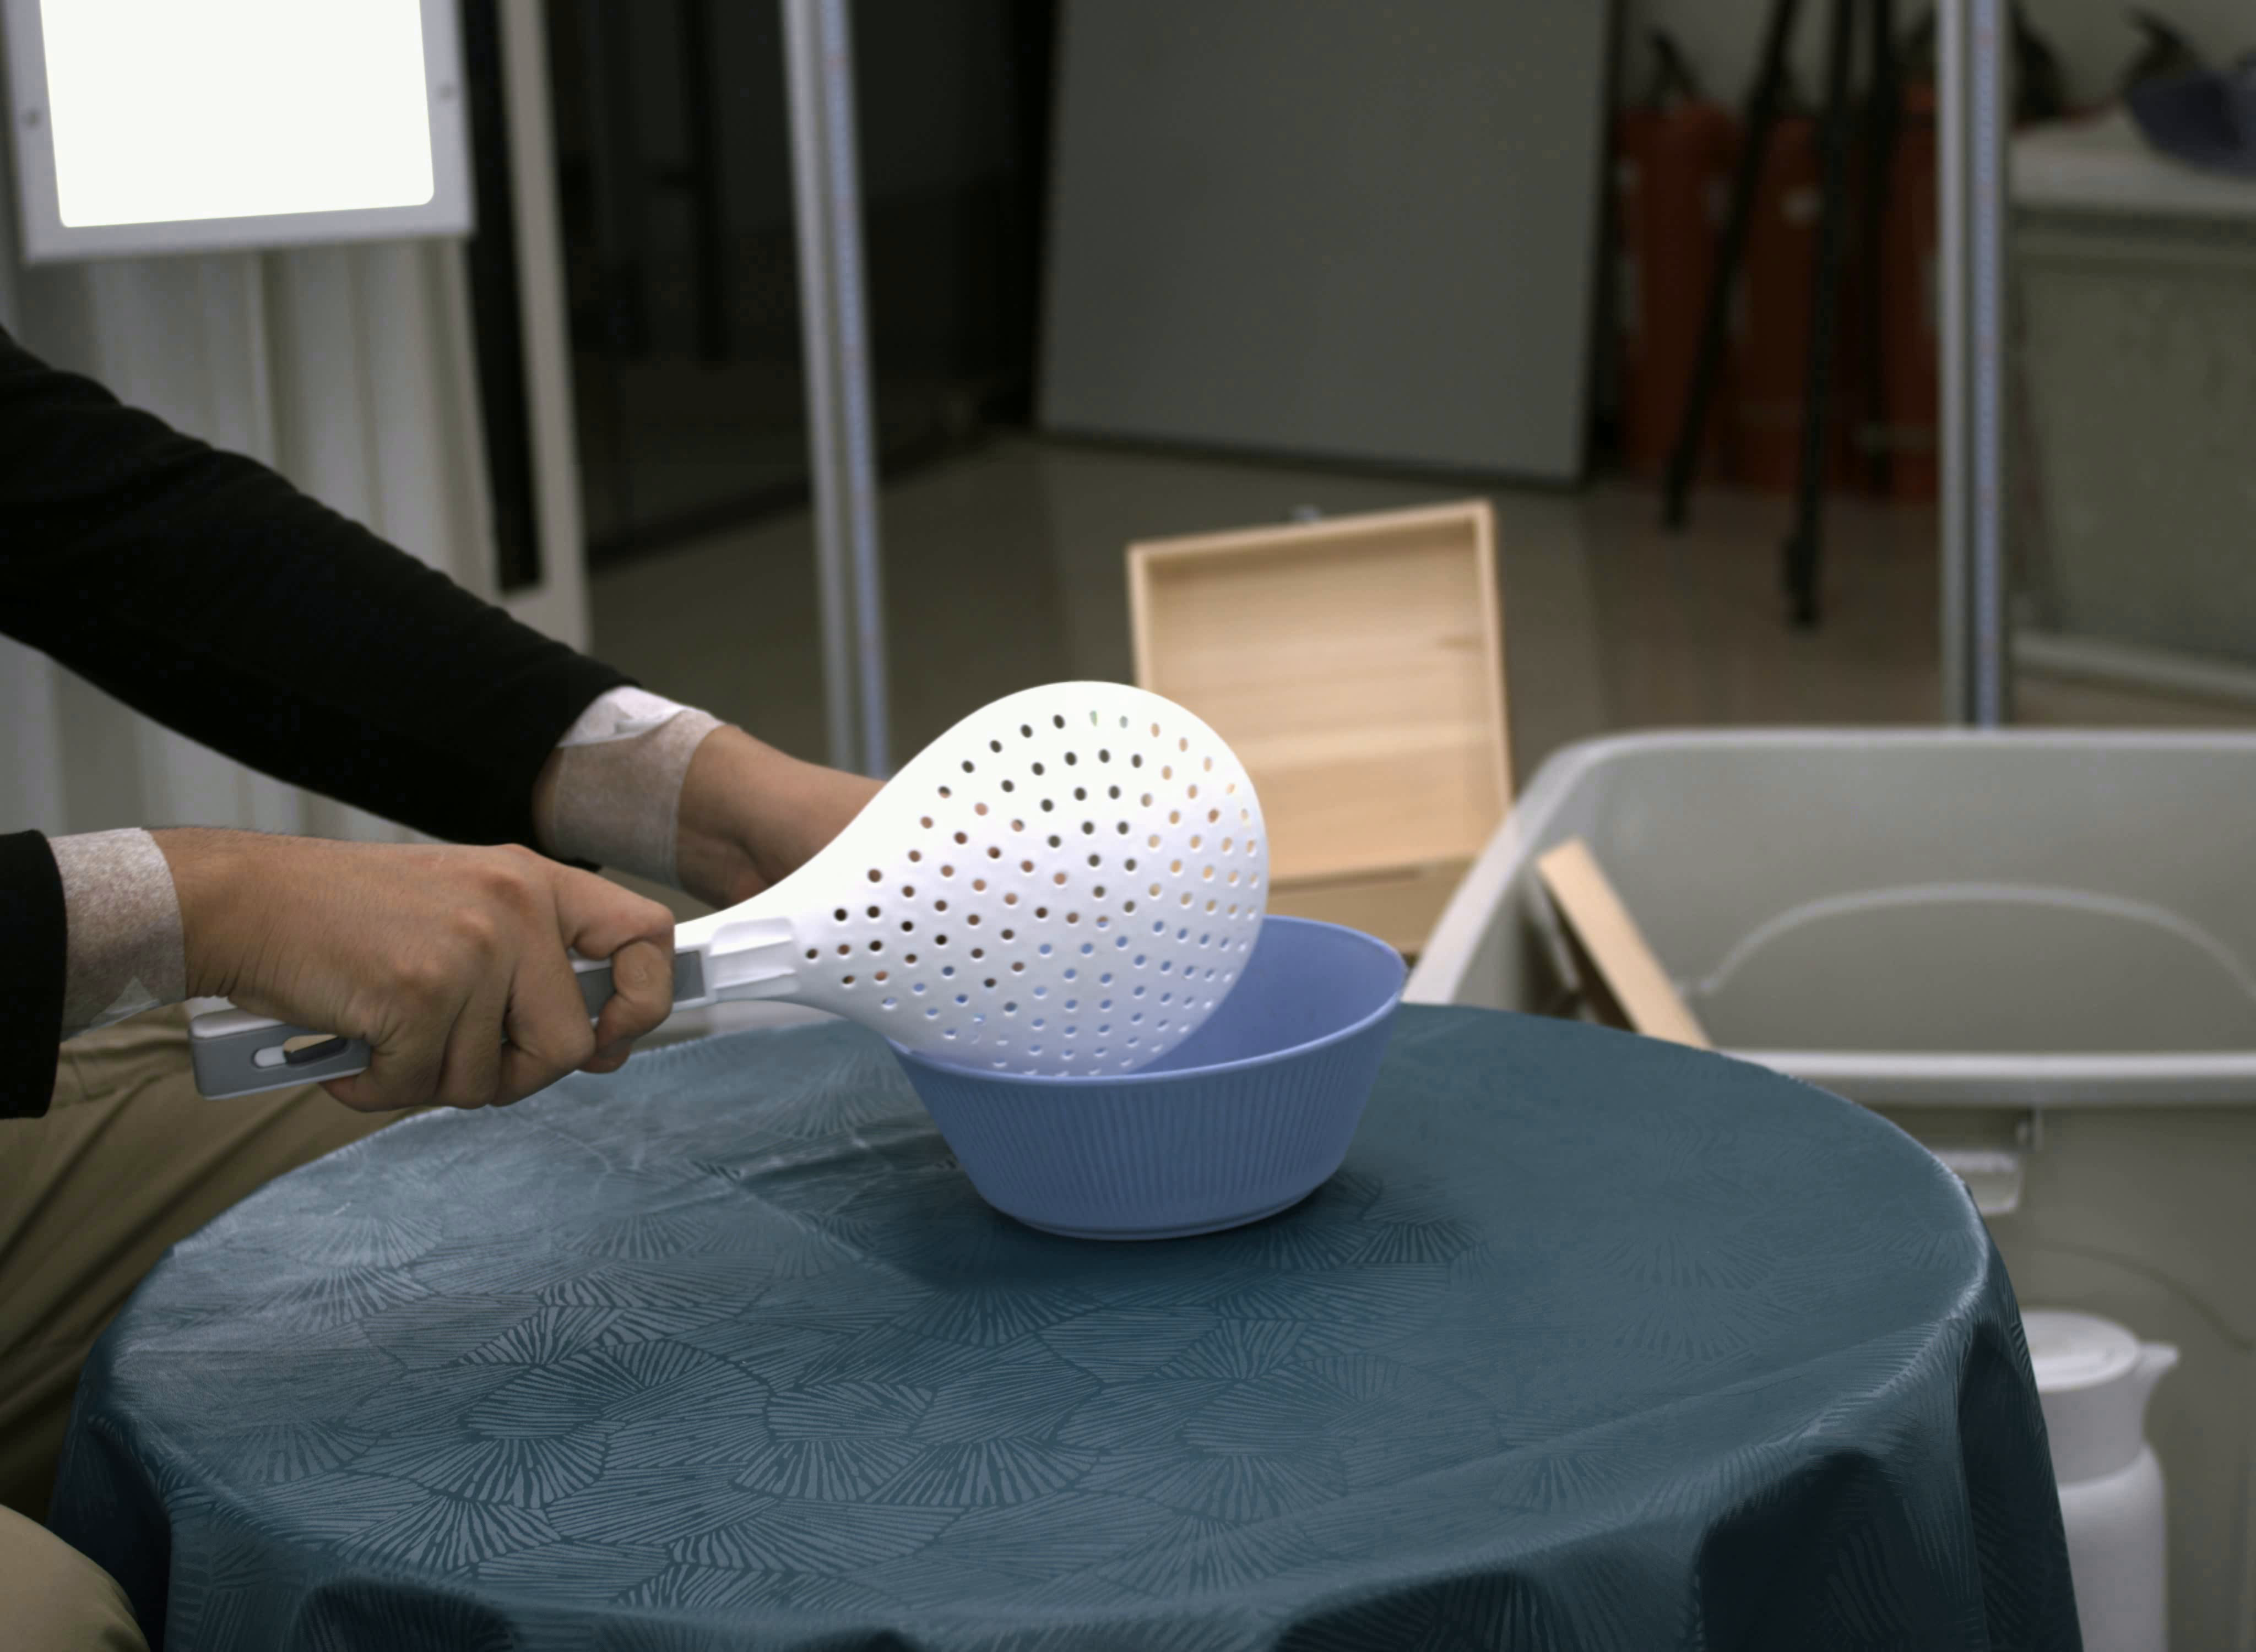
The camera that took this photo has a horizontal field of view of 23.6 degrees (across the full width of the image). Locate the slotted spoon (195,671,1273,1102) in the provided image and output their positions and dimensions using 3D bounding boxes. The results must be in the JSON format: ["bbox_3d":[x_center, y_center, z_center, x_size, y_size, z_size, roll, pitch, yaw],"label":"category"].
[{"bbox_3d":[-0.117,0.039,1.681,0.344,0.137,0.046,-9,17,-9],"label":"slotted spoon"}]

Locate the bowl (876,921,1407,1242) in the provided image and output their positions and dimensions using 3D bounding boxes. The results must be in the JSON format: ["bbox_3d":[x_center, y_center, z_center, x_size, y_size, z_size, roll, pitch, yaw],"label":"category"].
[{"bbox_3d":[0.007,0.085,1.760,0.174,0.071,0.176,-7,14,1],"label":"bowl"}]
